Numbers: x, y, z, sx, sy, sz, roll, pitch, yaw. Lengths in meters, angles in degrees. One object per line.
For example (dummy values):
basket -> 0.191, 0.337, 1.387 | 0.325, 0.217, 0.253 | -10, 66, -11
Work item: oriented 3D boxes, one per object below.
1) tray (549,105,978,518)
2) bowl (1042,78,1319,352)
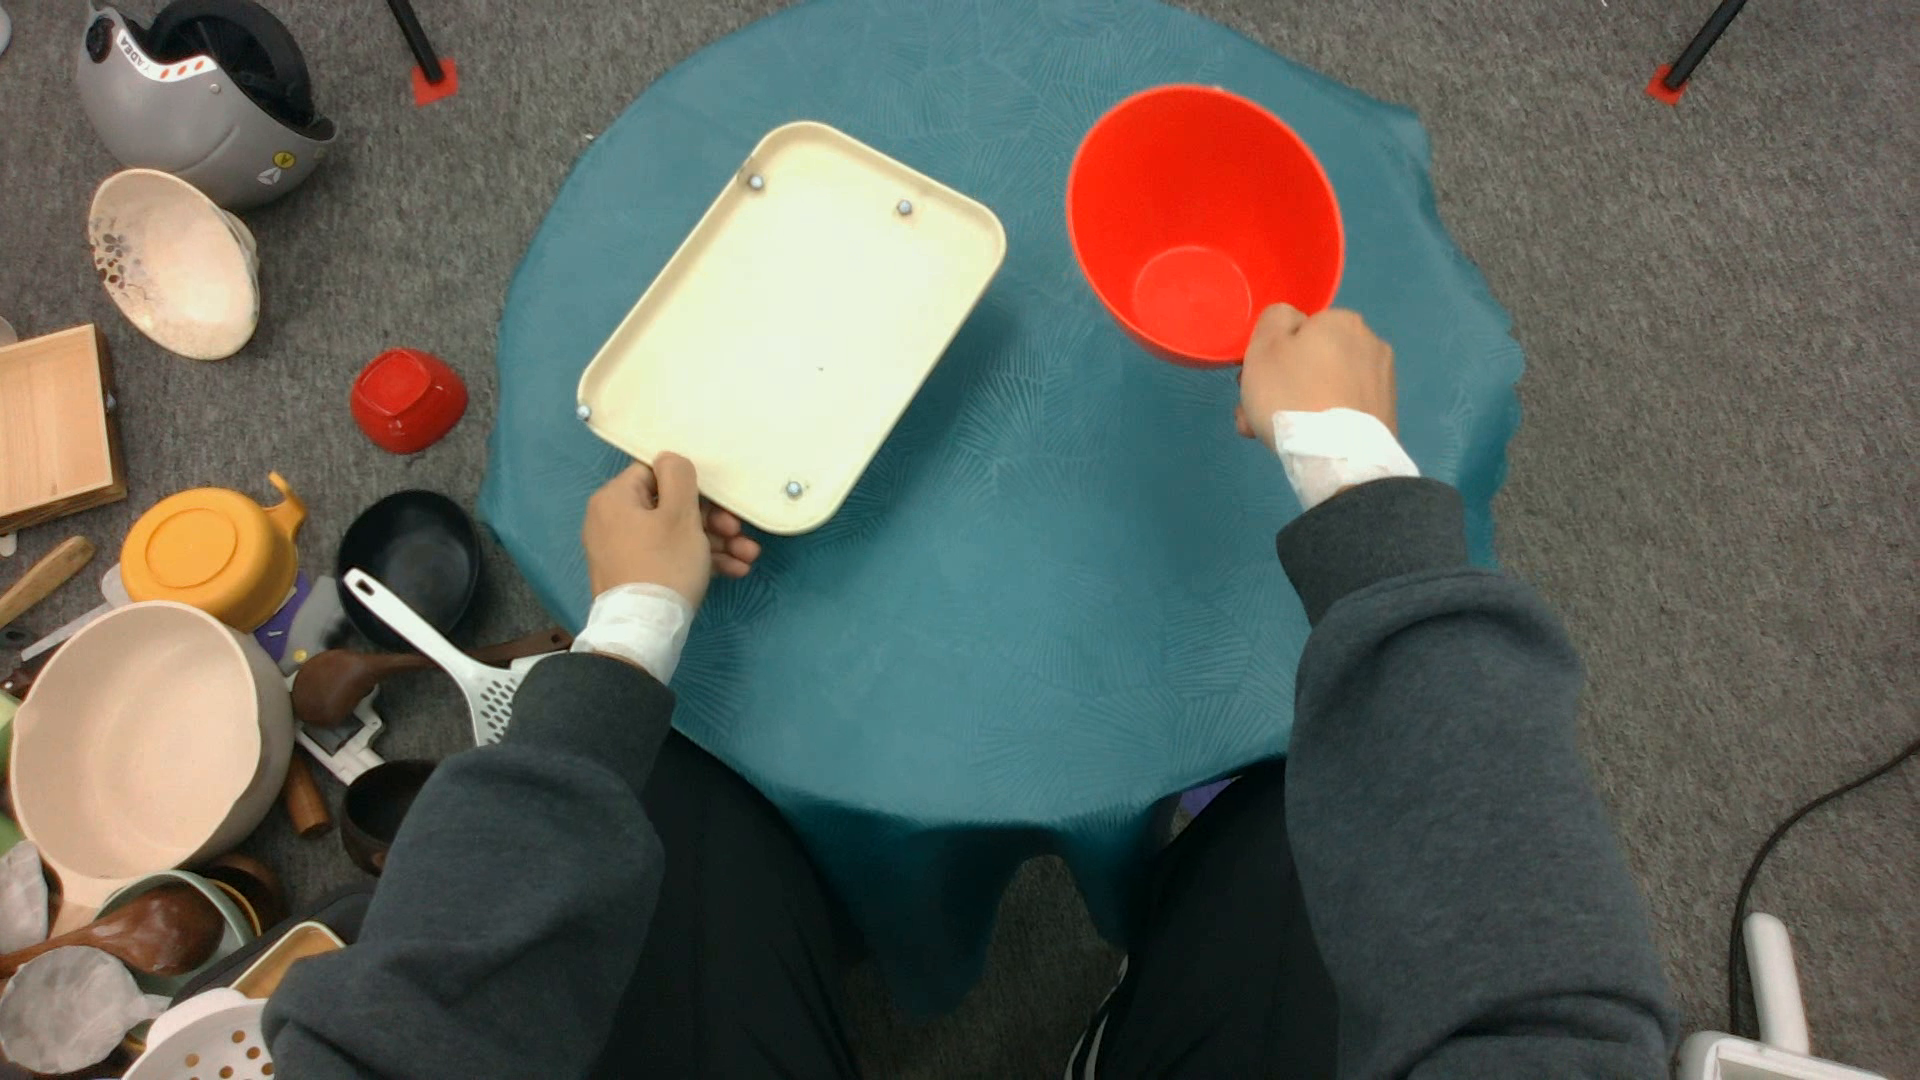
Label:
tray -> -0.110, -0.137, 0.799 | 0.171, 0.017, 0.240 | 29, 72, 9
bowl -> 0.112, -0.159, 0.742 | 0.148, 0.104, 0.148 | 1, 73, -3
